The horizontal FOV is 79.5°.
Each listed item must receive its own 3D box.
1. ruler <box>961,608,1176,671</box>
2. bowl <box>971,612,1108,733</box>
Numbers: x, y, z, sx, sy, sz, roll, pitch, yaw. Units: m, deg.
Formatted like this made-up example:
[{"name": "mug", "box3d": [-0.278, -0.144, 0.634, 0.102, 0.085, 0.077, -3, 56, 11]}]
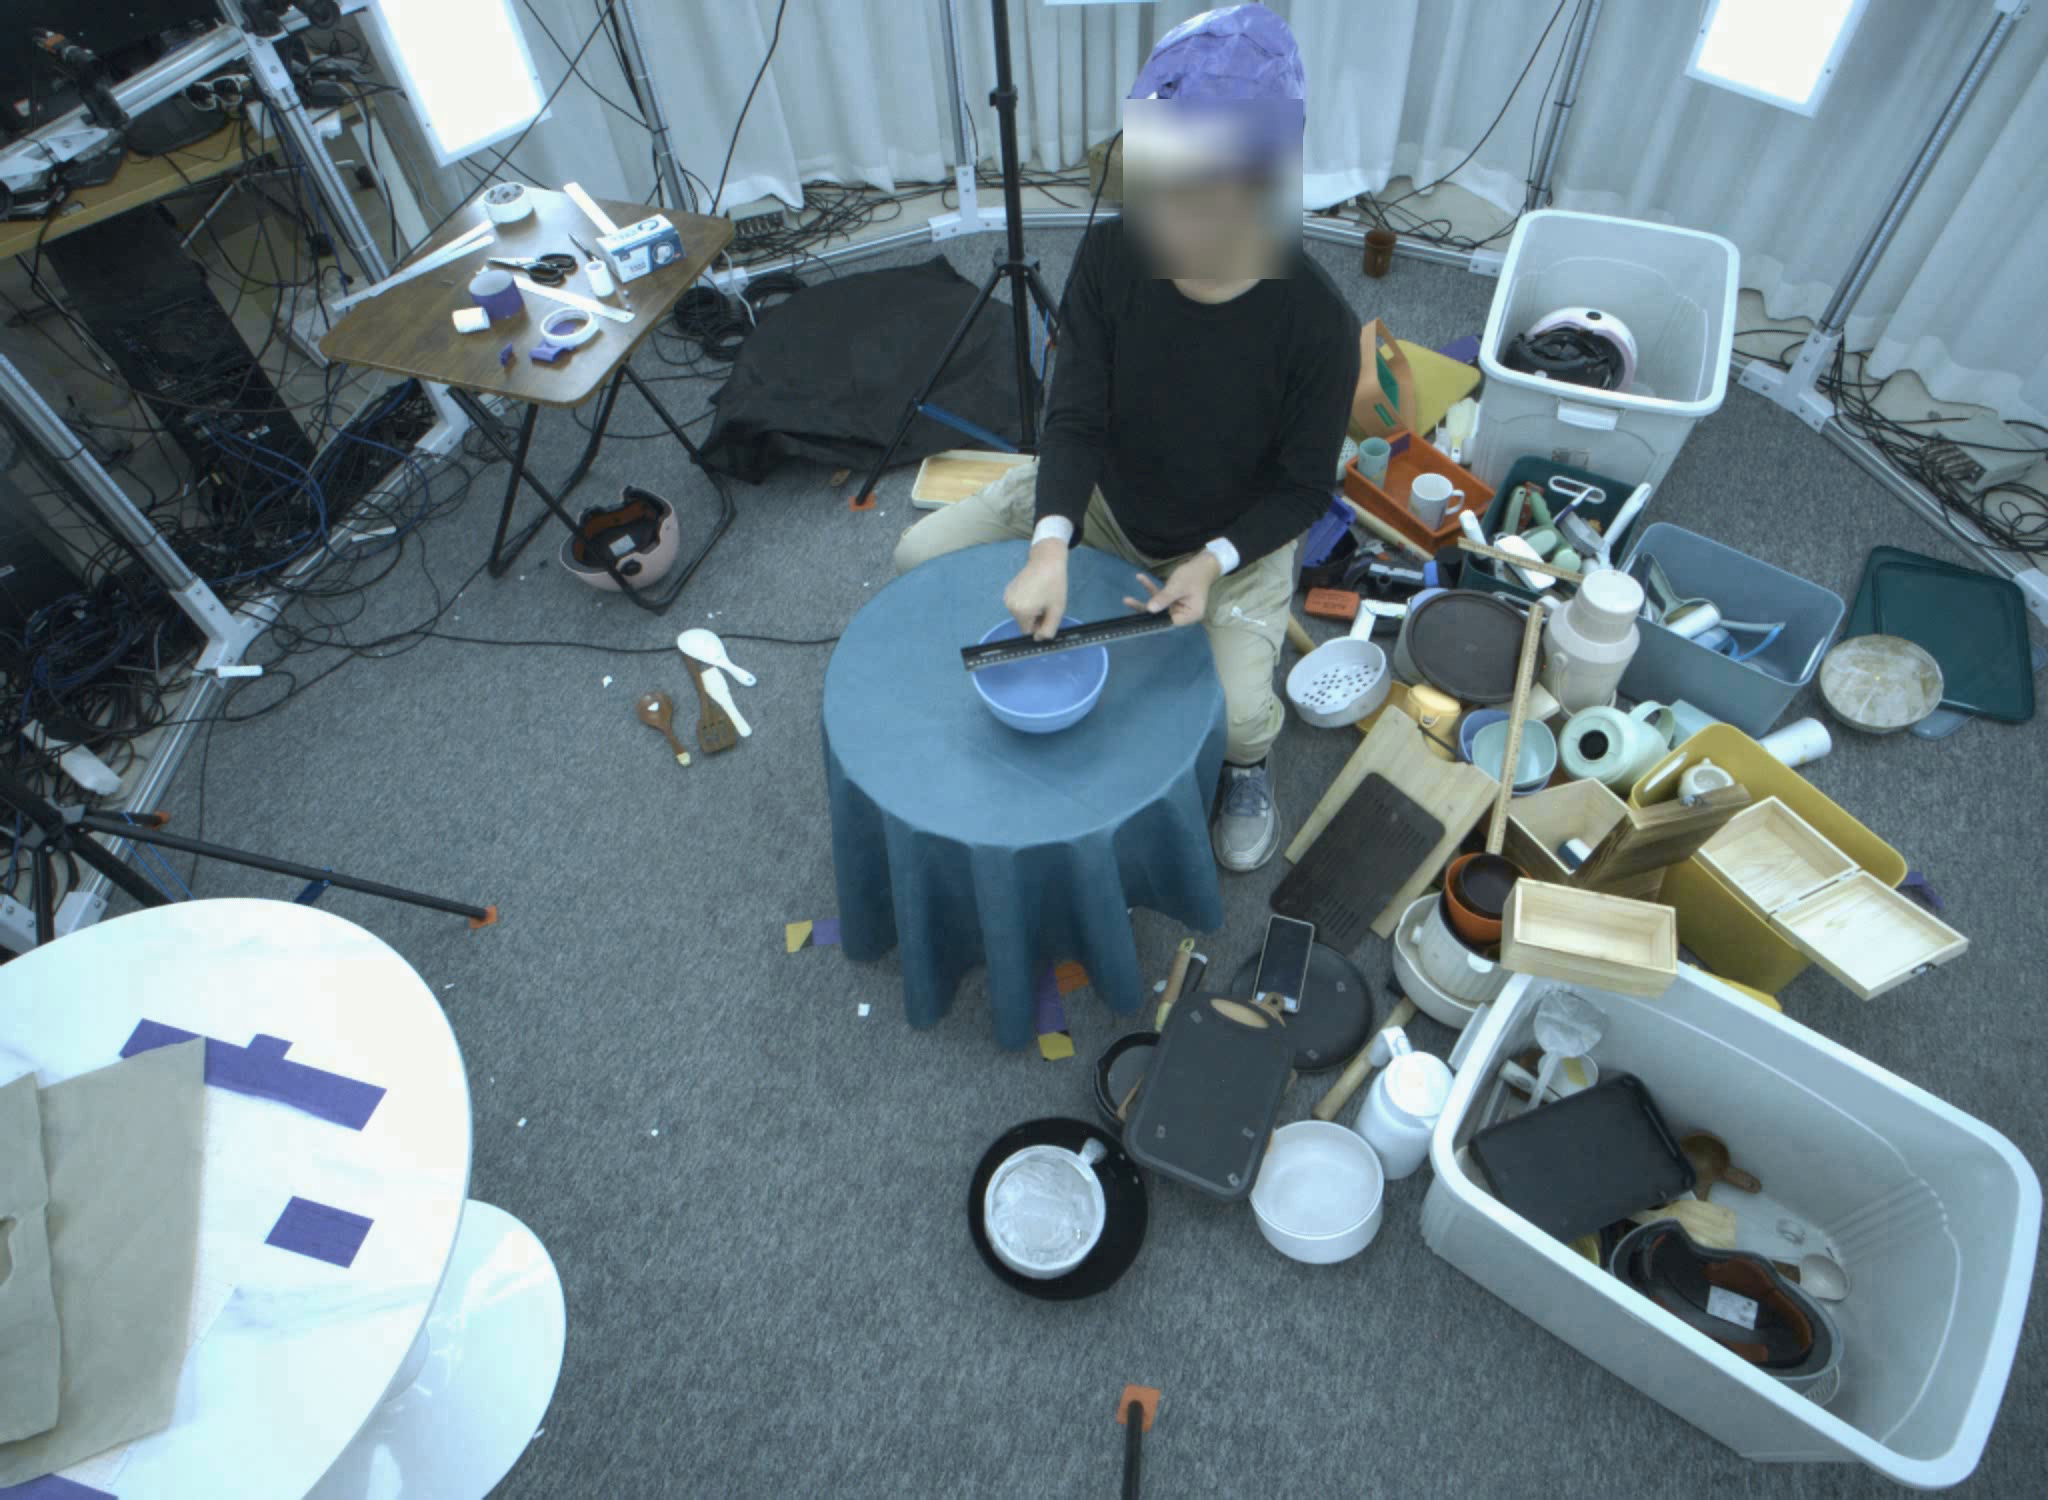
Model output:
[{"name": "ruler", "box3d": [0.065, -0.160, 1.767, 0.314, 0.017, 0.039, -12, 60, -8]}, {"name": "bowl", "box3d": [0.024, -0.098, 1.797, 0.196, 0.096, 0.194, -1, 55, 2]}]
